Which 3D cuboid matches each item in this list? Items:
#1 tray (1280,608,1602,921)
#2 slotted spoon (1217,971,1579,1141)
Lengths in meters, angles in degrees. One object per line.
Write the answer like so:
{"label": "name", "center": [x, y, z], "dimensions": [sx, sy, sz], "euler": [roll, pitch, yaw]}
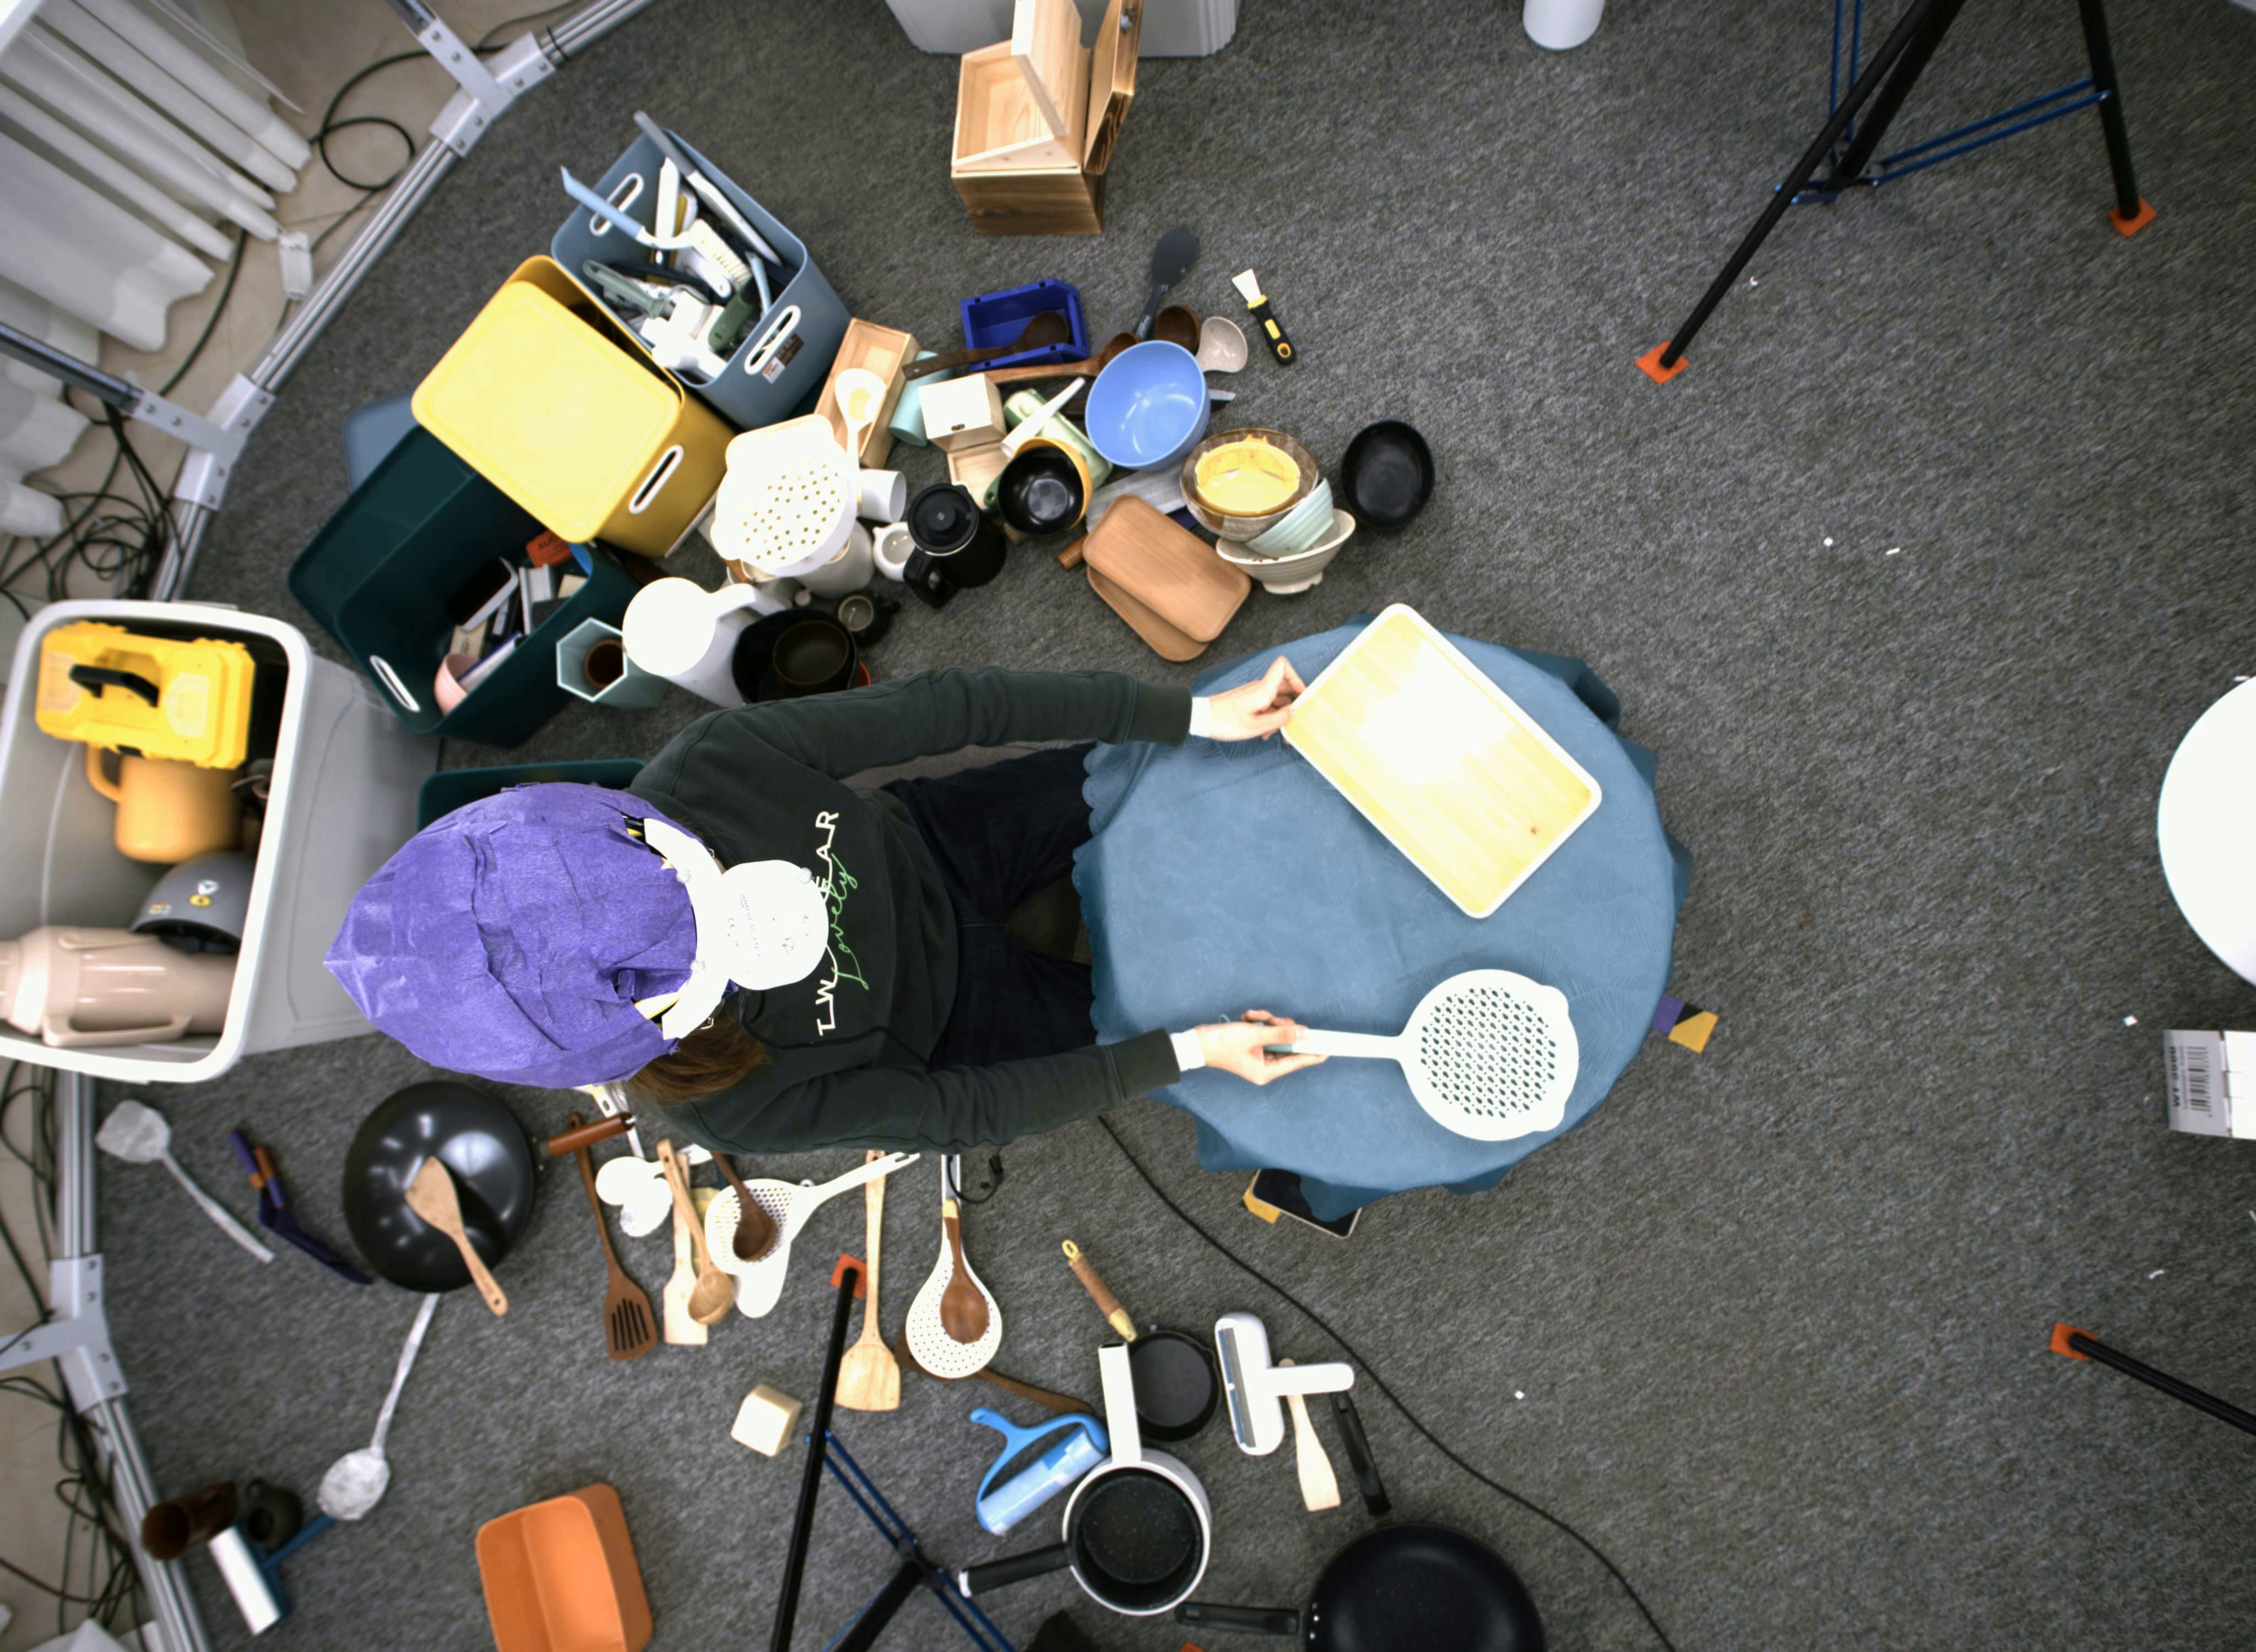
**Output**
{"label": "tray", "center": [0.325, -0.067, 1.441], "dimensions": [0.299, 0.027, 0.192], "euler": [45, 94, 6]}
{"label": "slotted spoon", "center": [0.271, 0.225, 1.411], "dimensions": [0.359, 0.075, 0.168], "euler": [3, 86, 4]}
